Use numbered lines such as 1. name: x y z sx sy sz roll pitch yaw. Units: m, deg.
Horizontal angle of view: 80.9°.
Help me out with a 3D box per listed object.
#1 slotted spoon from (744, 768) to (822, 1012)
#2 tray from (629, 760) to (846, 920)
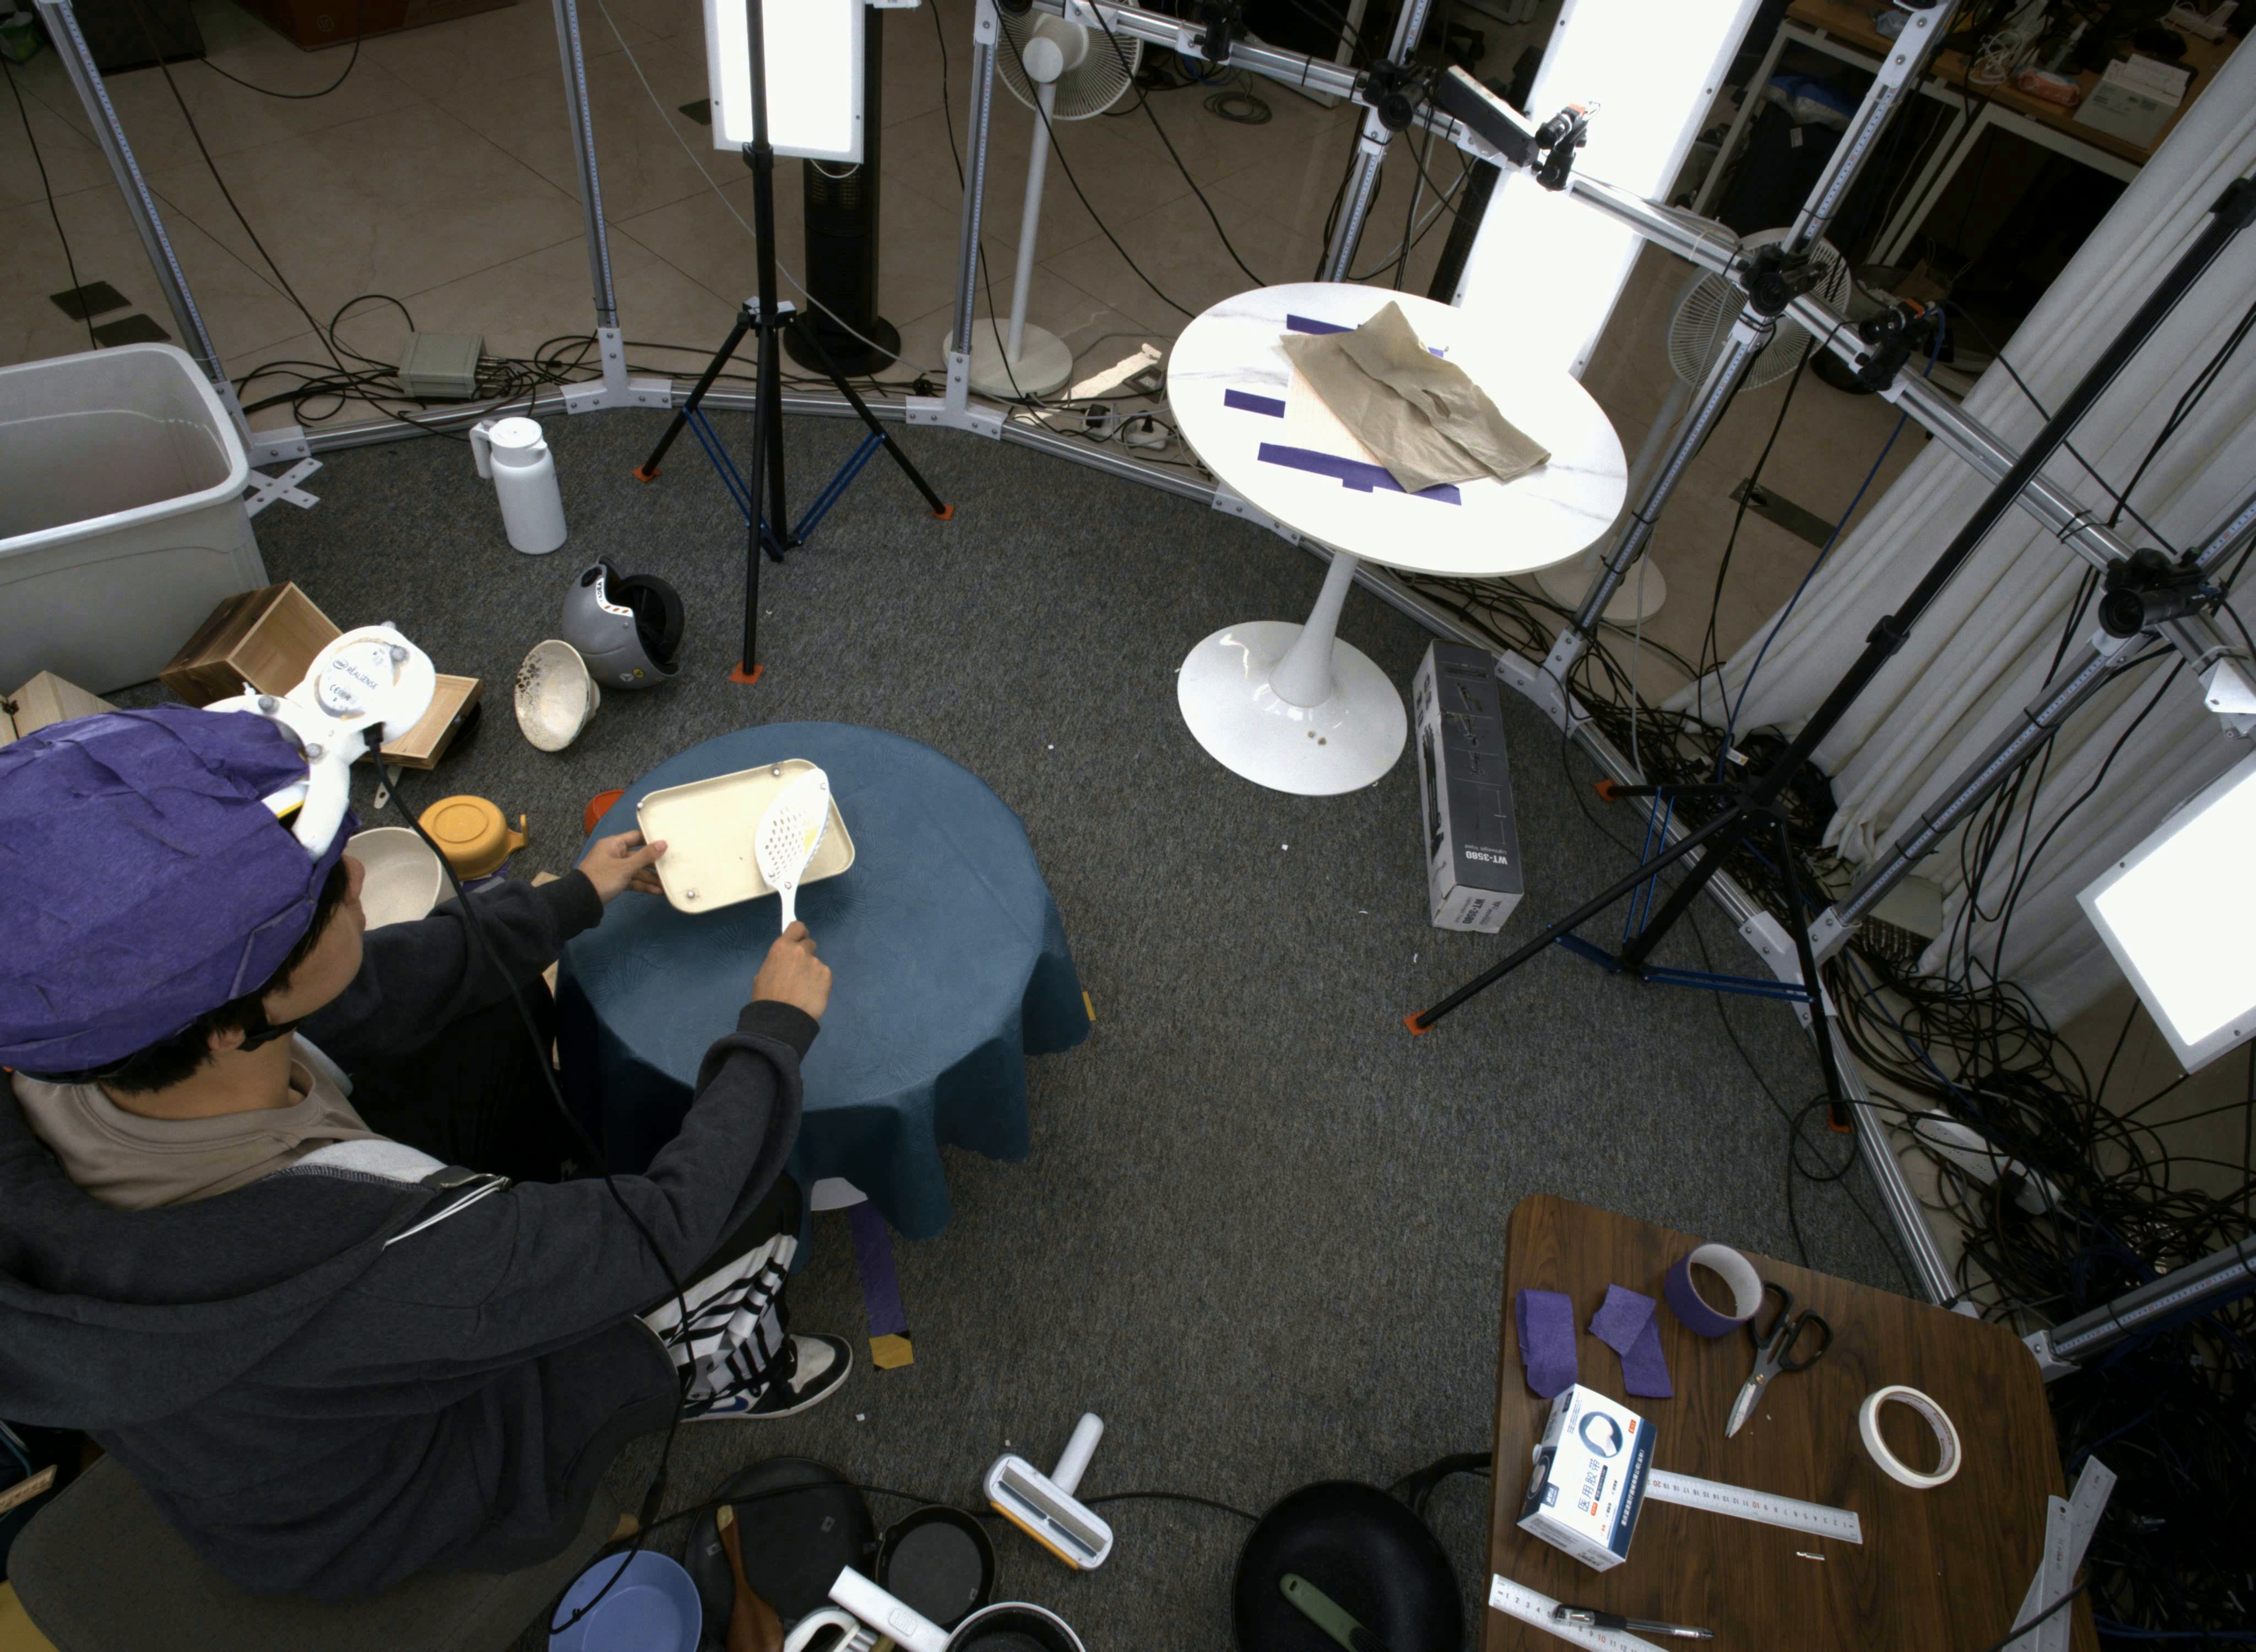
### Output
1. slotted spoon: -0.391 0.073 1.502 0.052 0.136 0.338 38 26 -37
2. tray: -0.482 0.014 1.598 0.241 0.017 0.169 -17 74 -32
